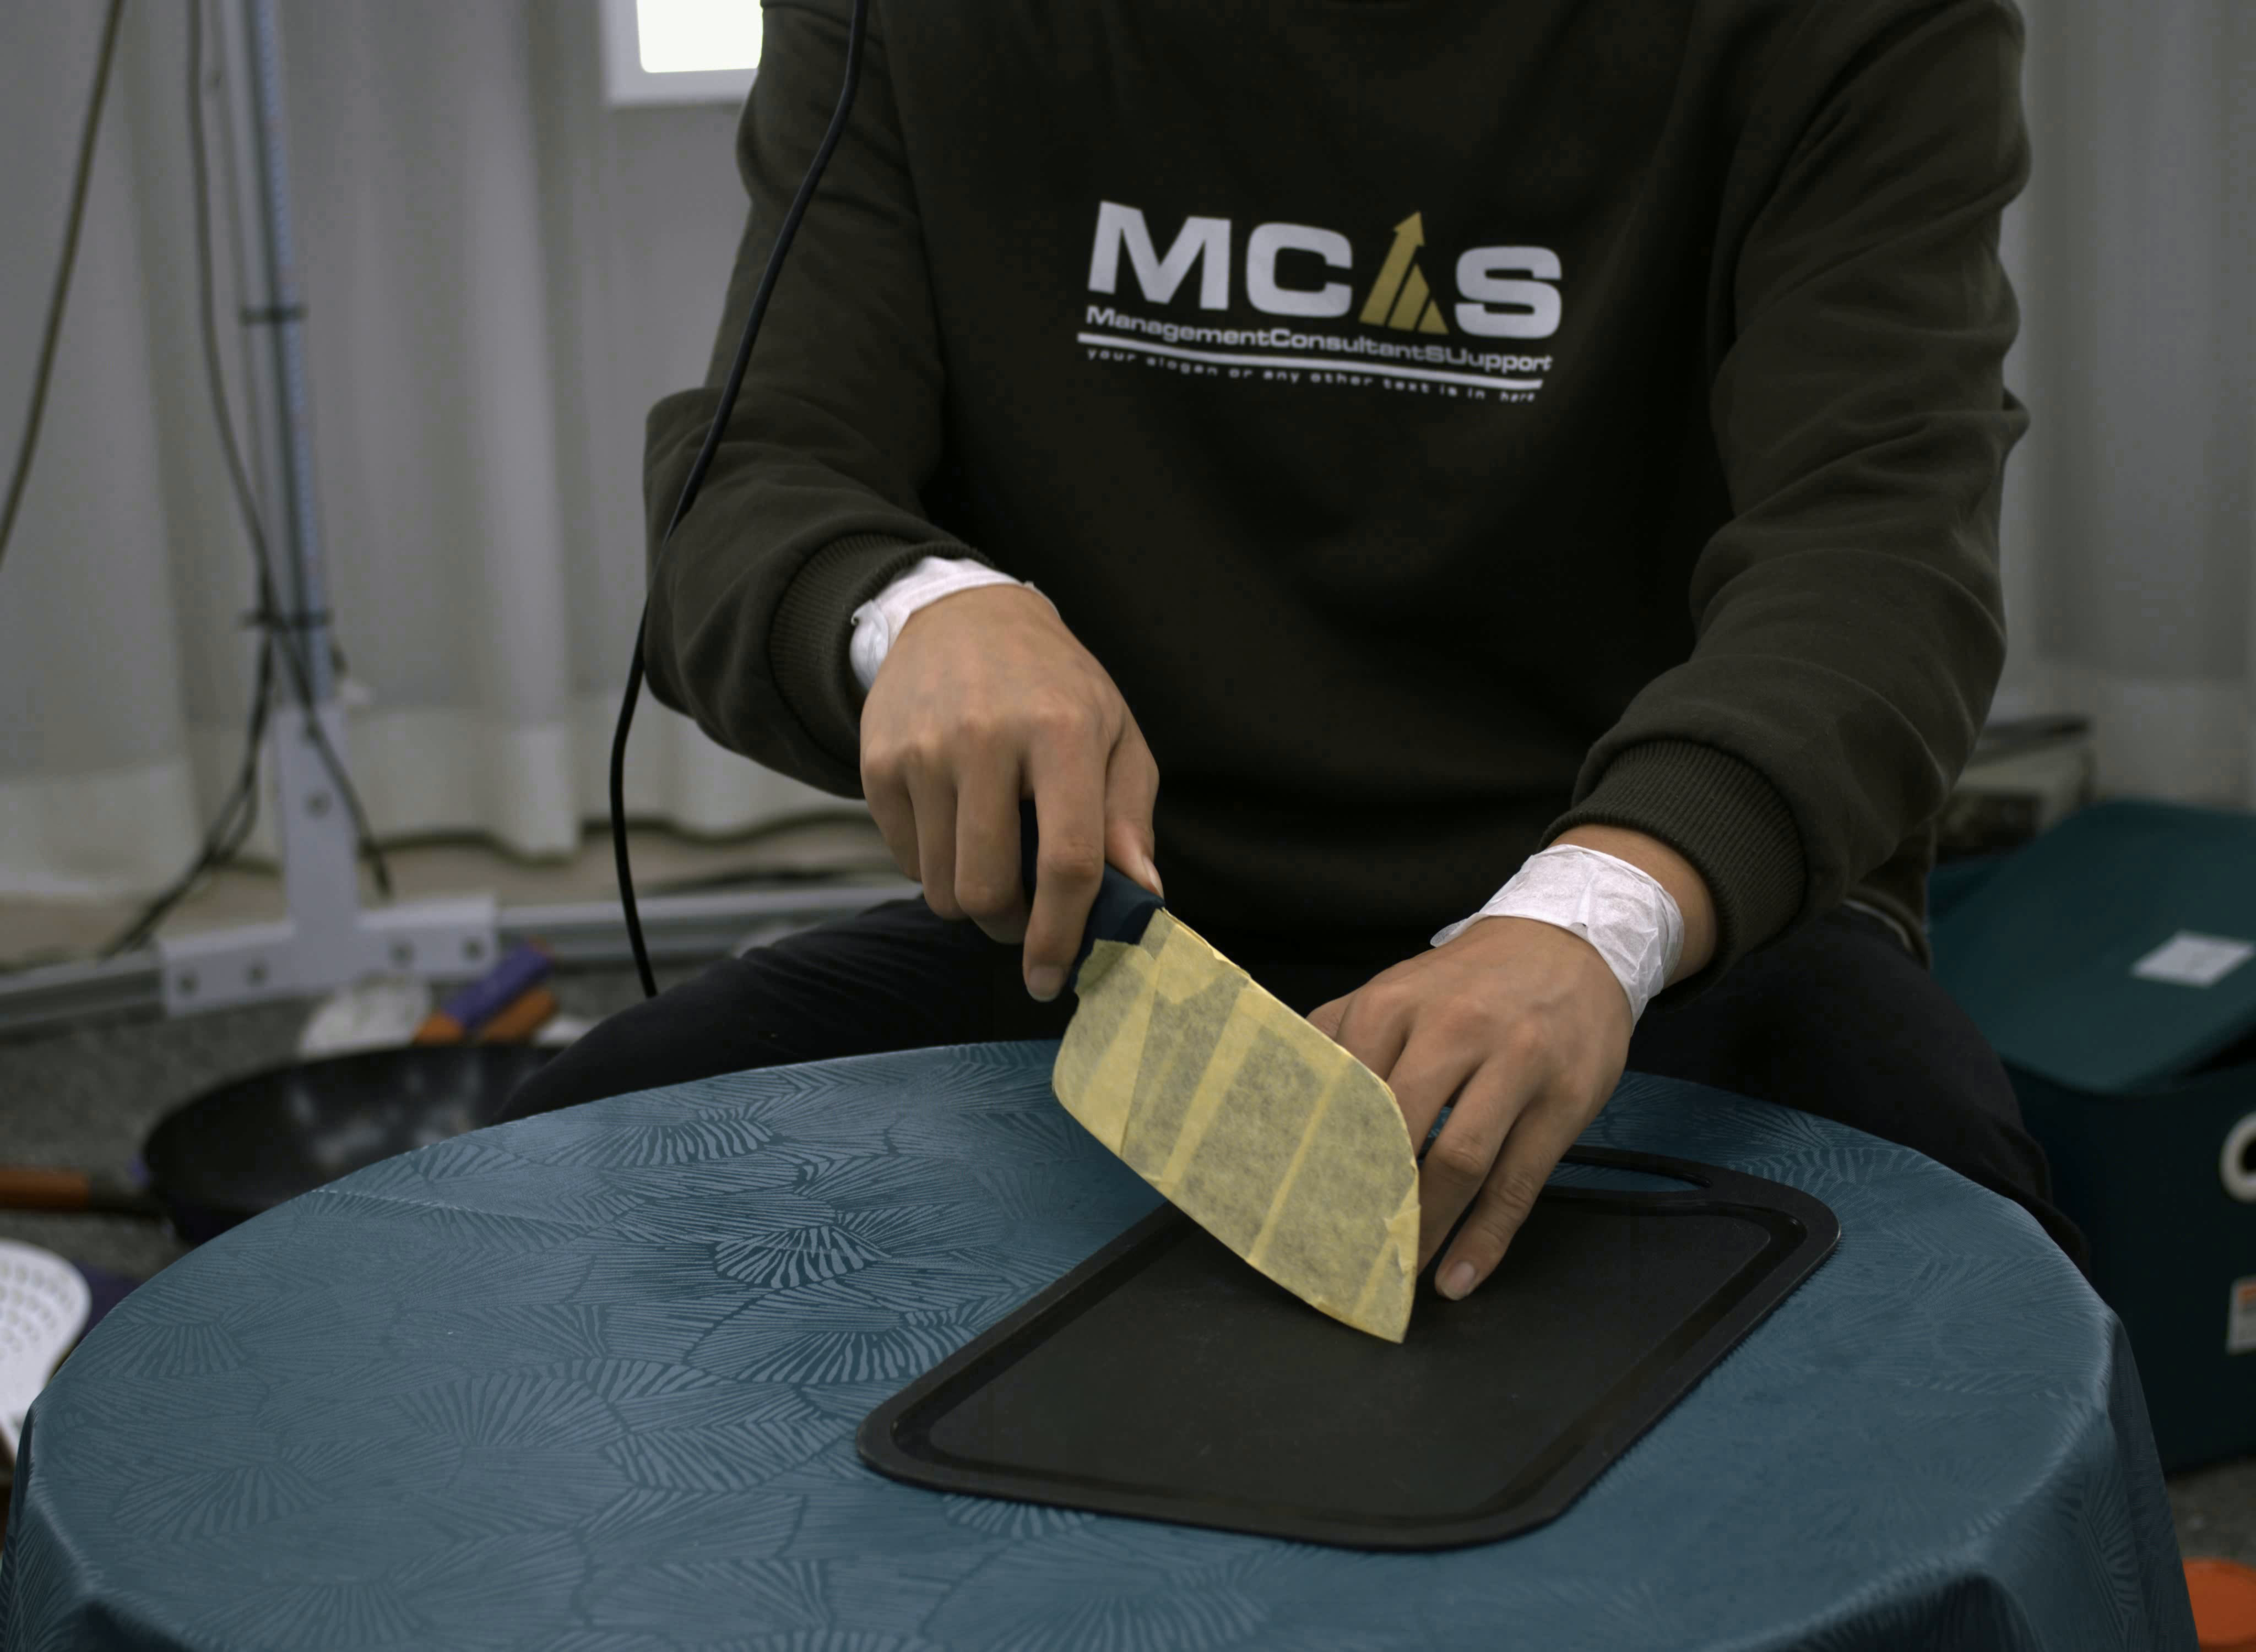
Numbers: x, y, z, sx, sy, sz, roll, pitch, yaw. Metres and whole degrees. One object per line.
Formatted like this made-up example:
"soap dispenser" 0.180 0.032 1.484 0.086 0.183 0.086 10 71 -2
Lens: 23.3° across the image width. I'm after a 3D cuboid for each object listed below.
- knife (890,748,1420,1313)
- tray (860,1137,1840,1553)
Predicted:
"knife" 0.003 0.059 1.665 0.027 0.081 0.293 15 19 -42
"tray" 0.073 0.141 1.589 0.211 0.010 0.326 5 17 26
